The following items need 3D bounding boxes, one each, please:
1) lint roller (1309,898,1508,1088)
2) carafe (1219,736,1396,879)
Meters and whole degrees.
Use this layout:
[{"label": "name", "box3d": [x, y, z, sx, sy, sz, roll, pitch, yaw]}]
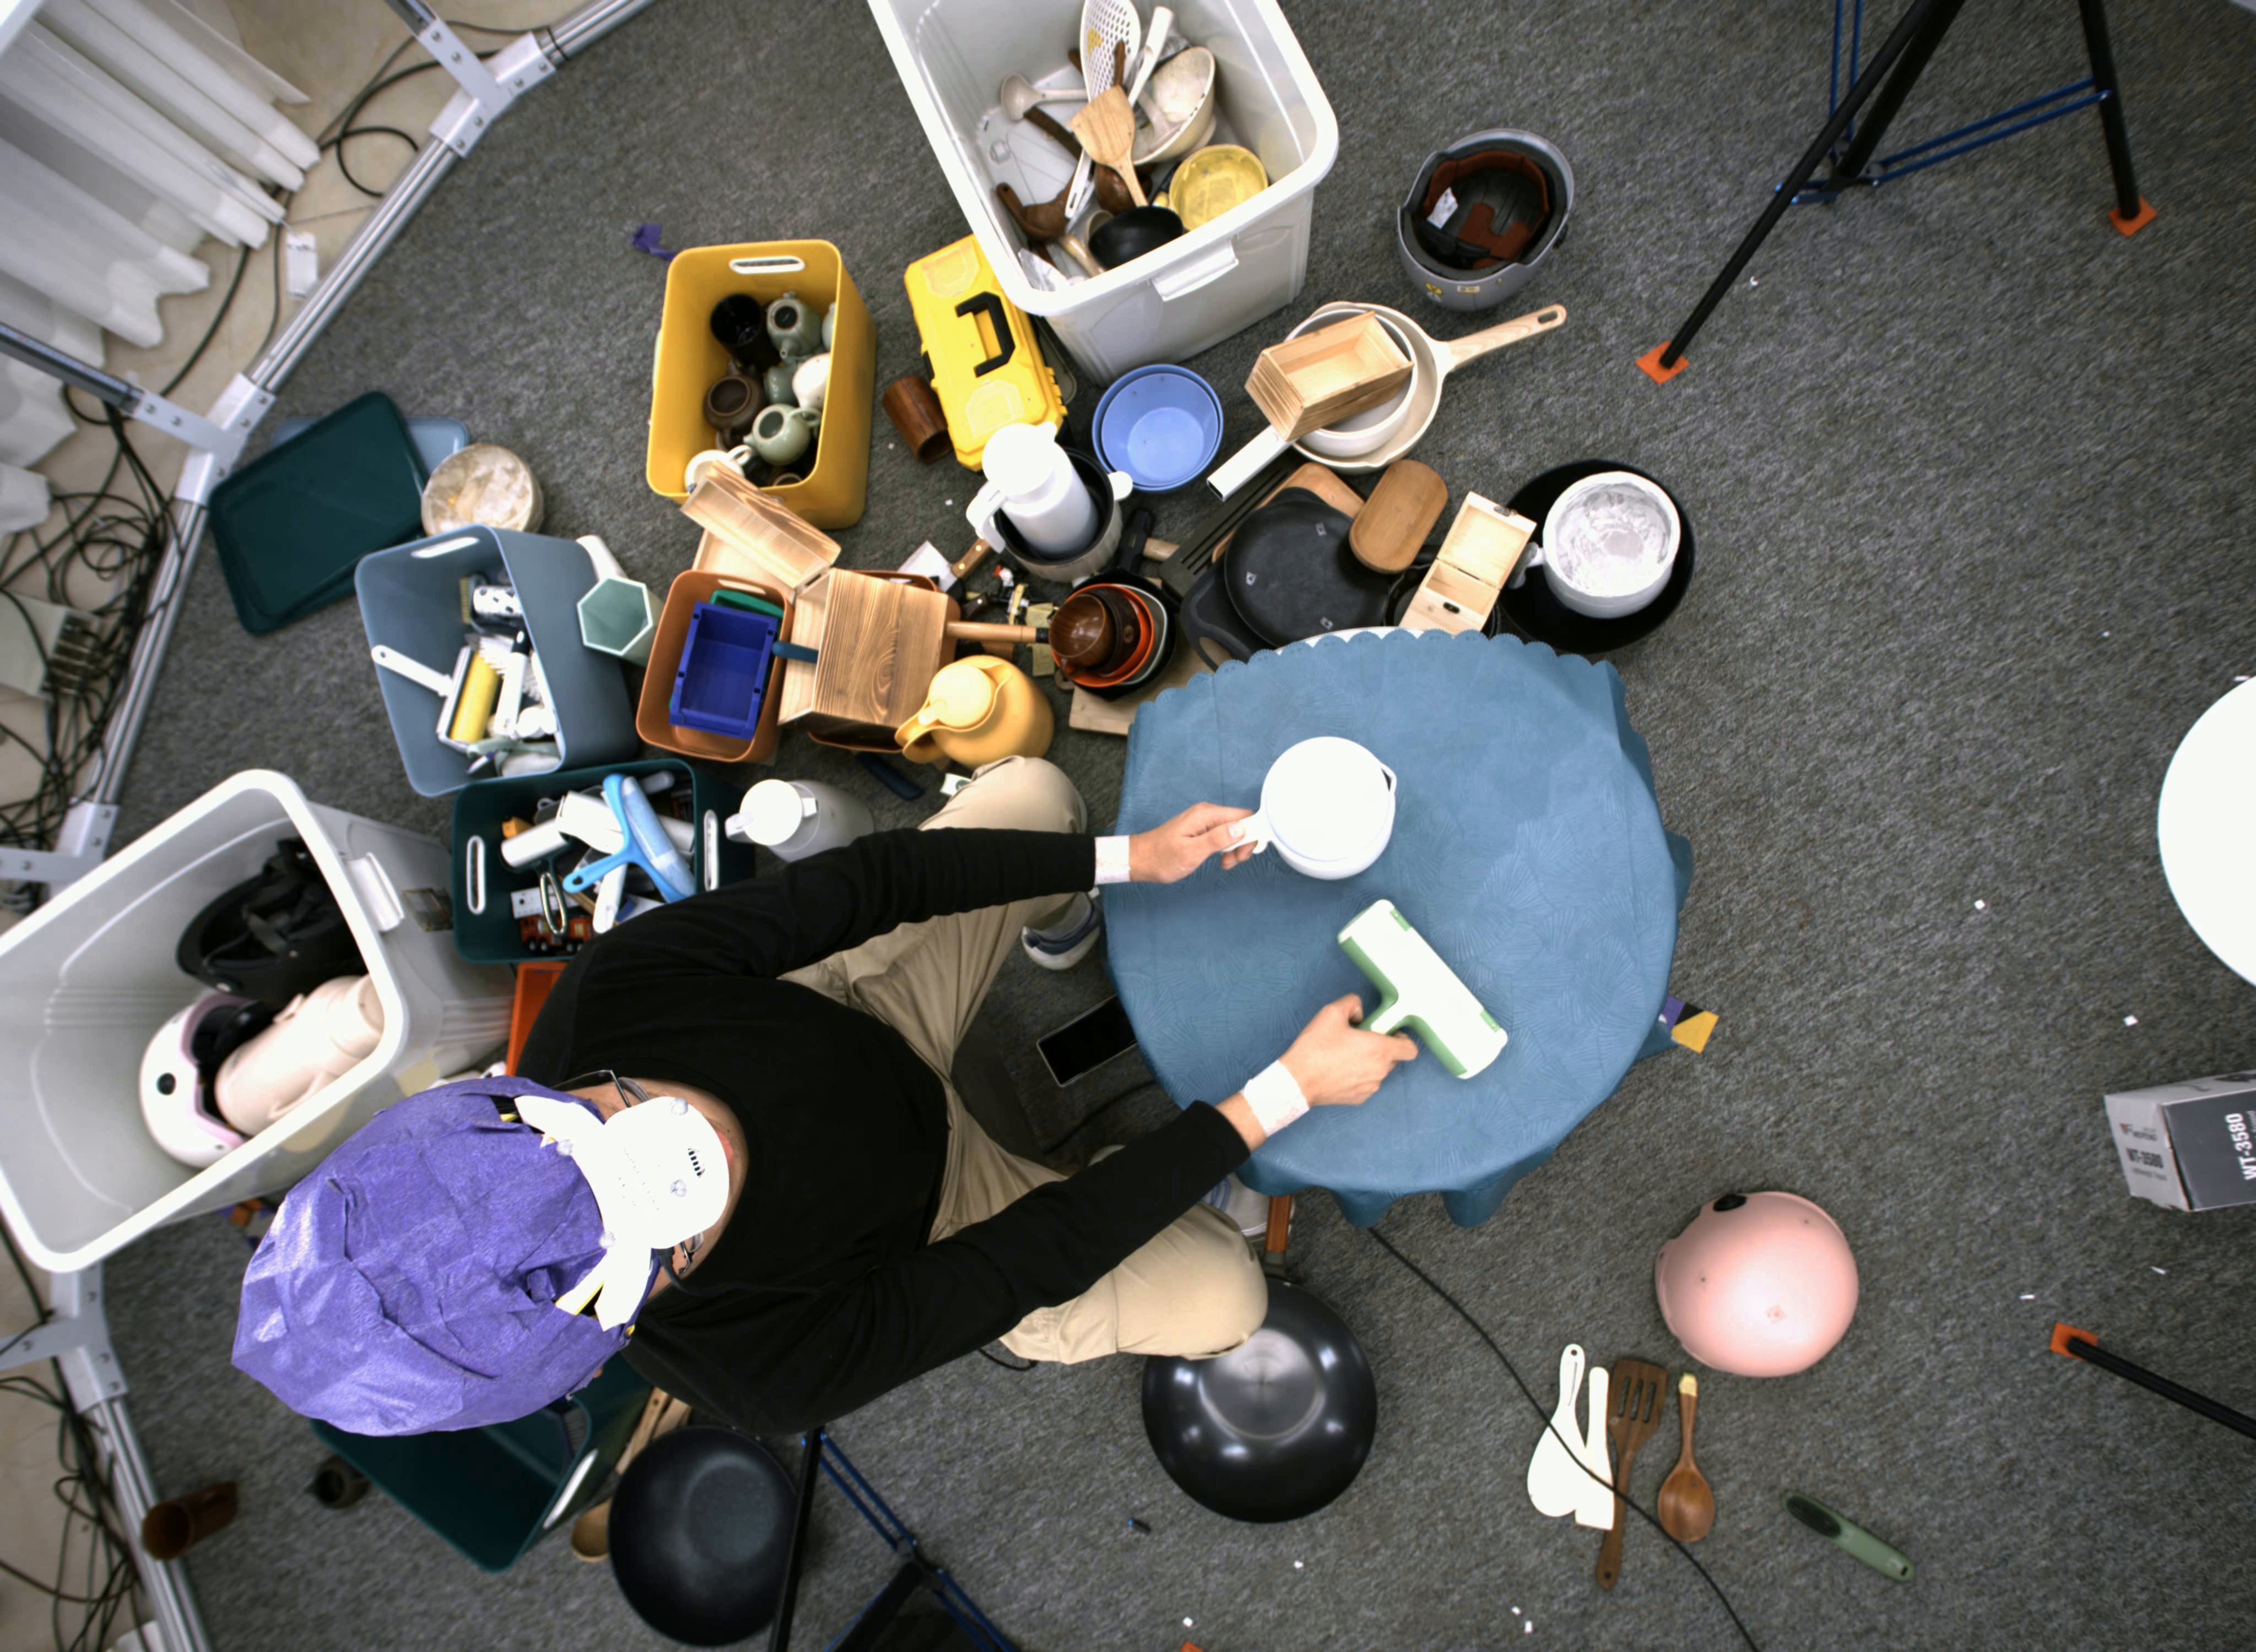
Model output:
[{"label": "lint roller", "box3d": [0.259, 0.198, 1.396, 0.182, 0.083, 0.198, -40, 84, -11]}, {"label": "carafe", "box3d": [0.180, -0.009, 1.394, 0.192, 0.182, 0.131, -21, 81, 10]}]
